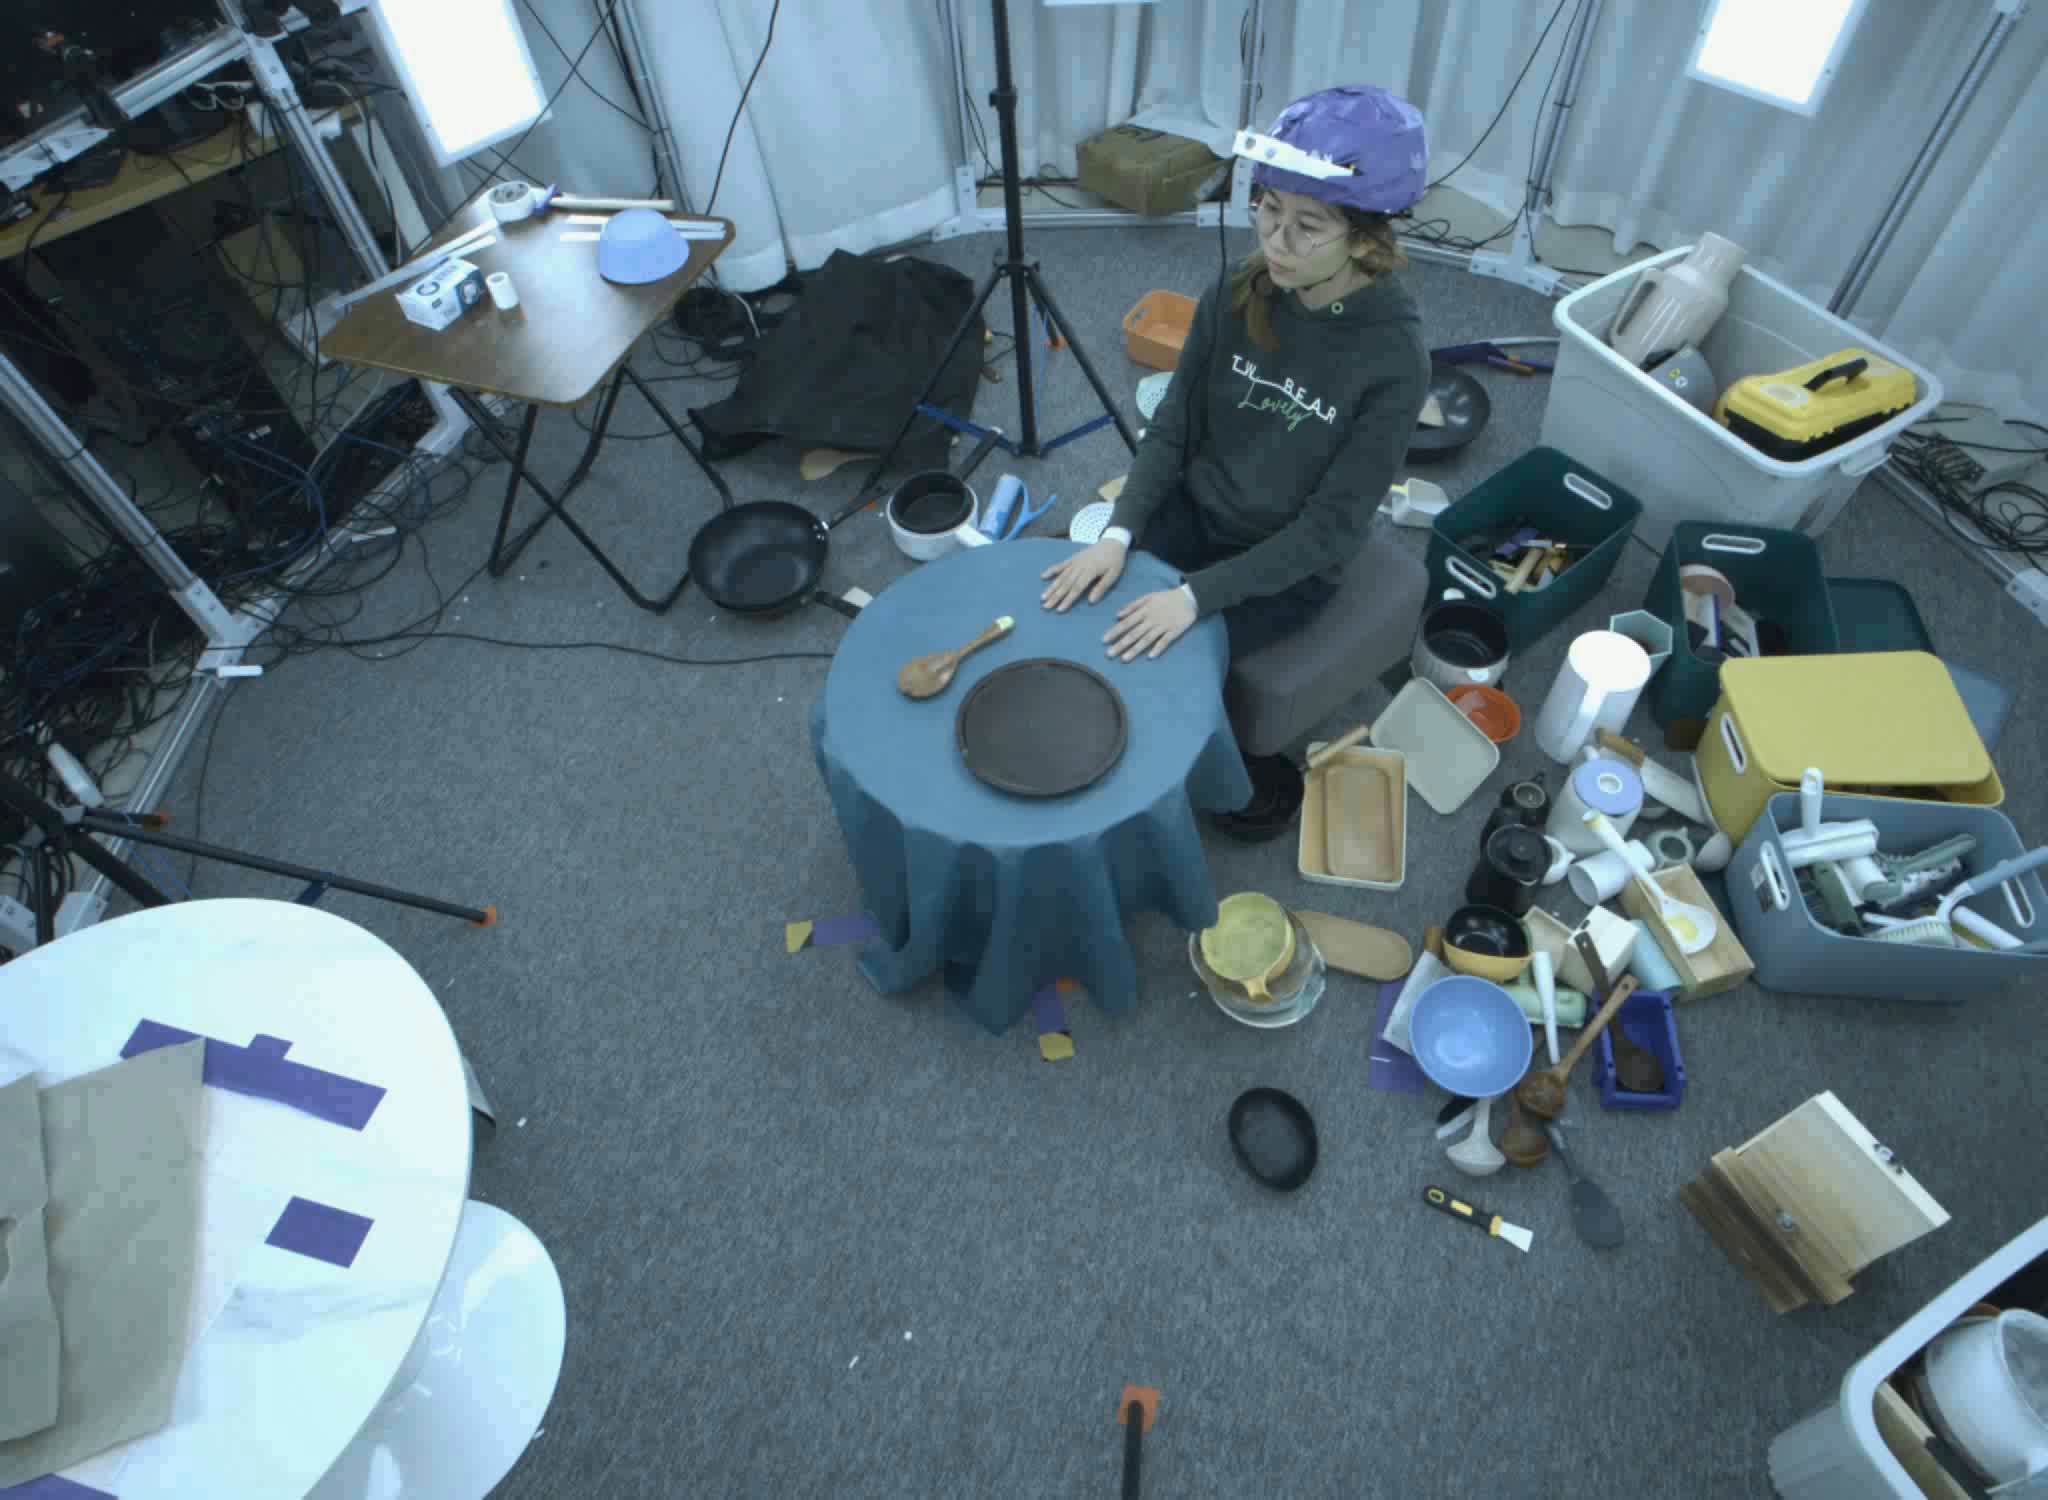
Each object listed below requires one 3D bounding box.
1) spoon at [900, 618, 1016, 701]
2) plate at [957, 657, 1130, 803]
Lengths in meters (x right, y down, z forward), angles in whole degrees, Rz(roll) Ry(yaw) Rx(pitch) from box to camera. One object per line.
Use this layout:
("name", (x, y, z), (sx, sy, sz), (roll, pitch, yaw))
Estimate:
("spoon", (-0.097, -0.141, 1.889), (0.217, 0.017, 0.074), (-37, 61, -21))
("plate", (0.028, -0.028, 1.804), (0.254, 0.029, 0.252), (0, 56, 2))
